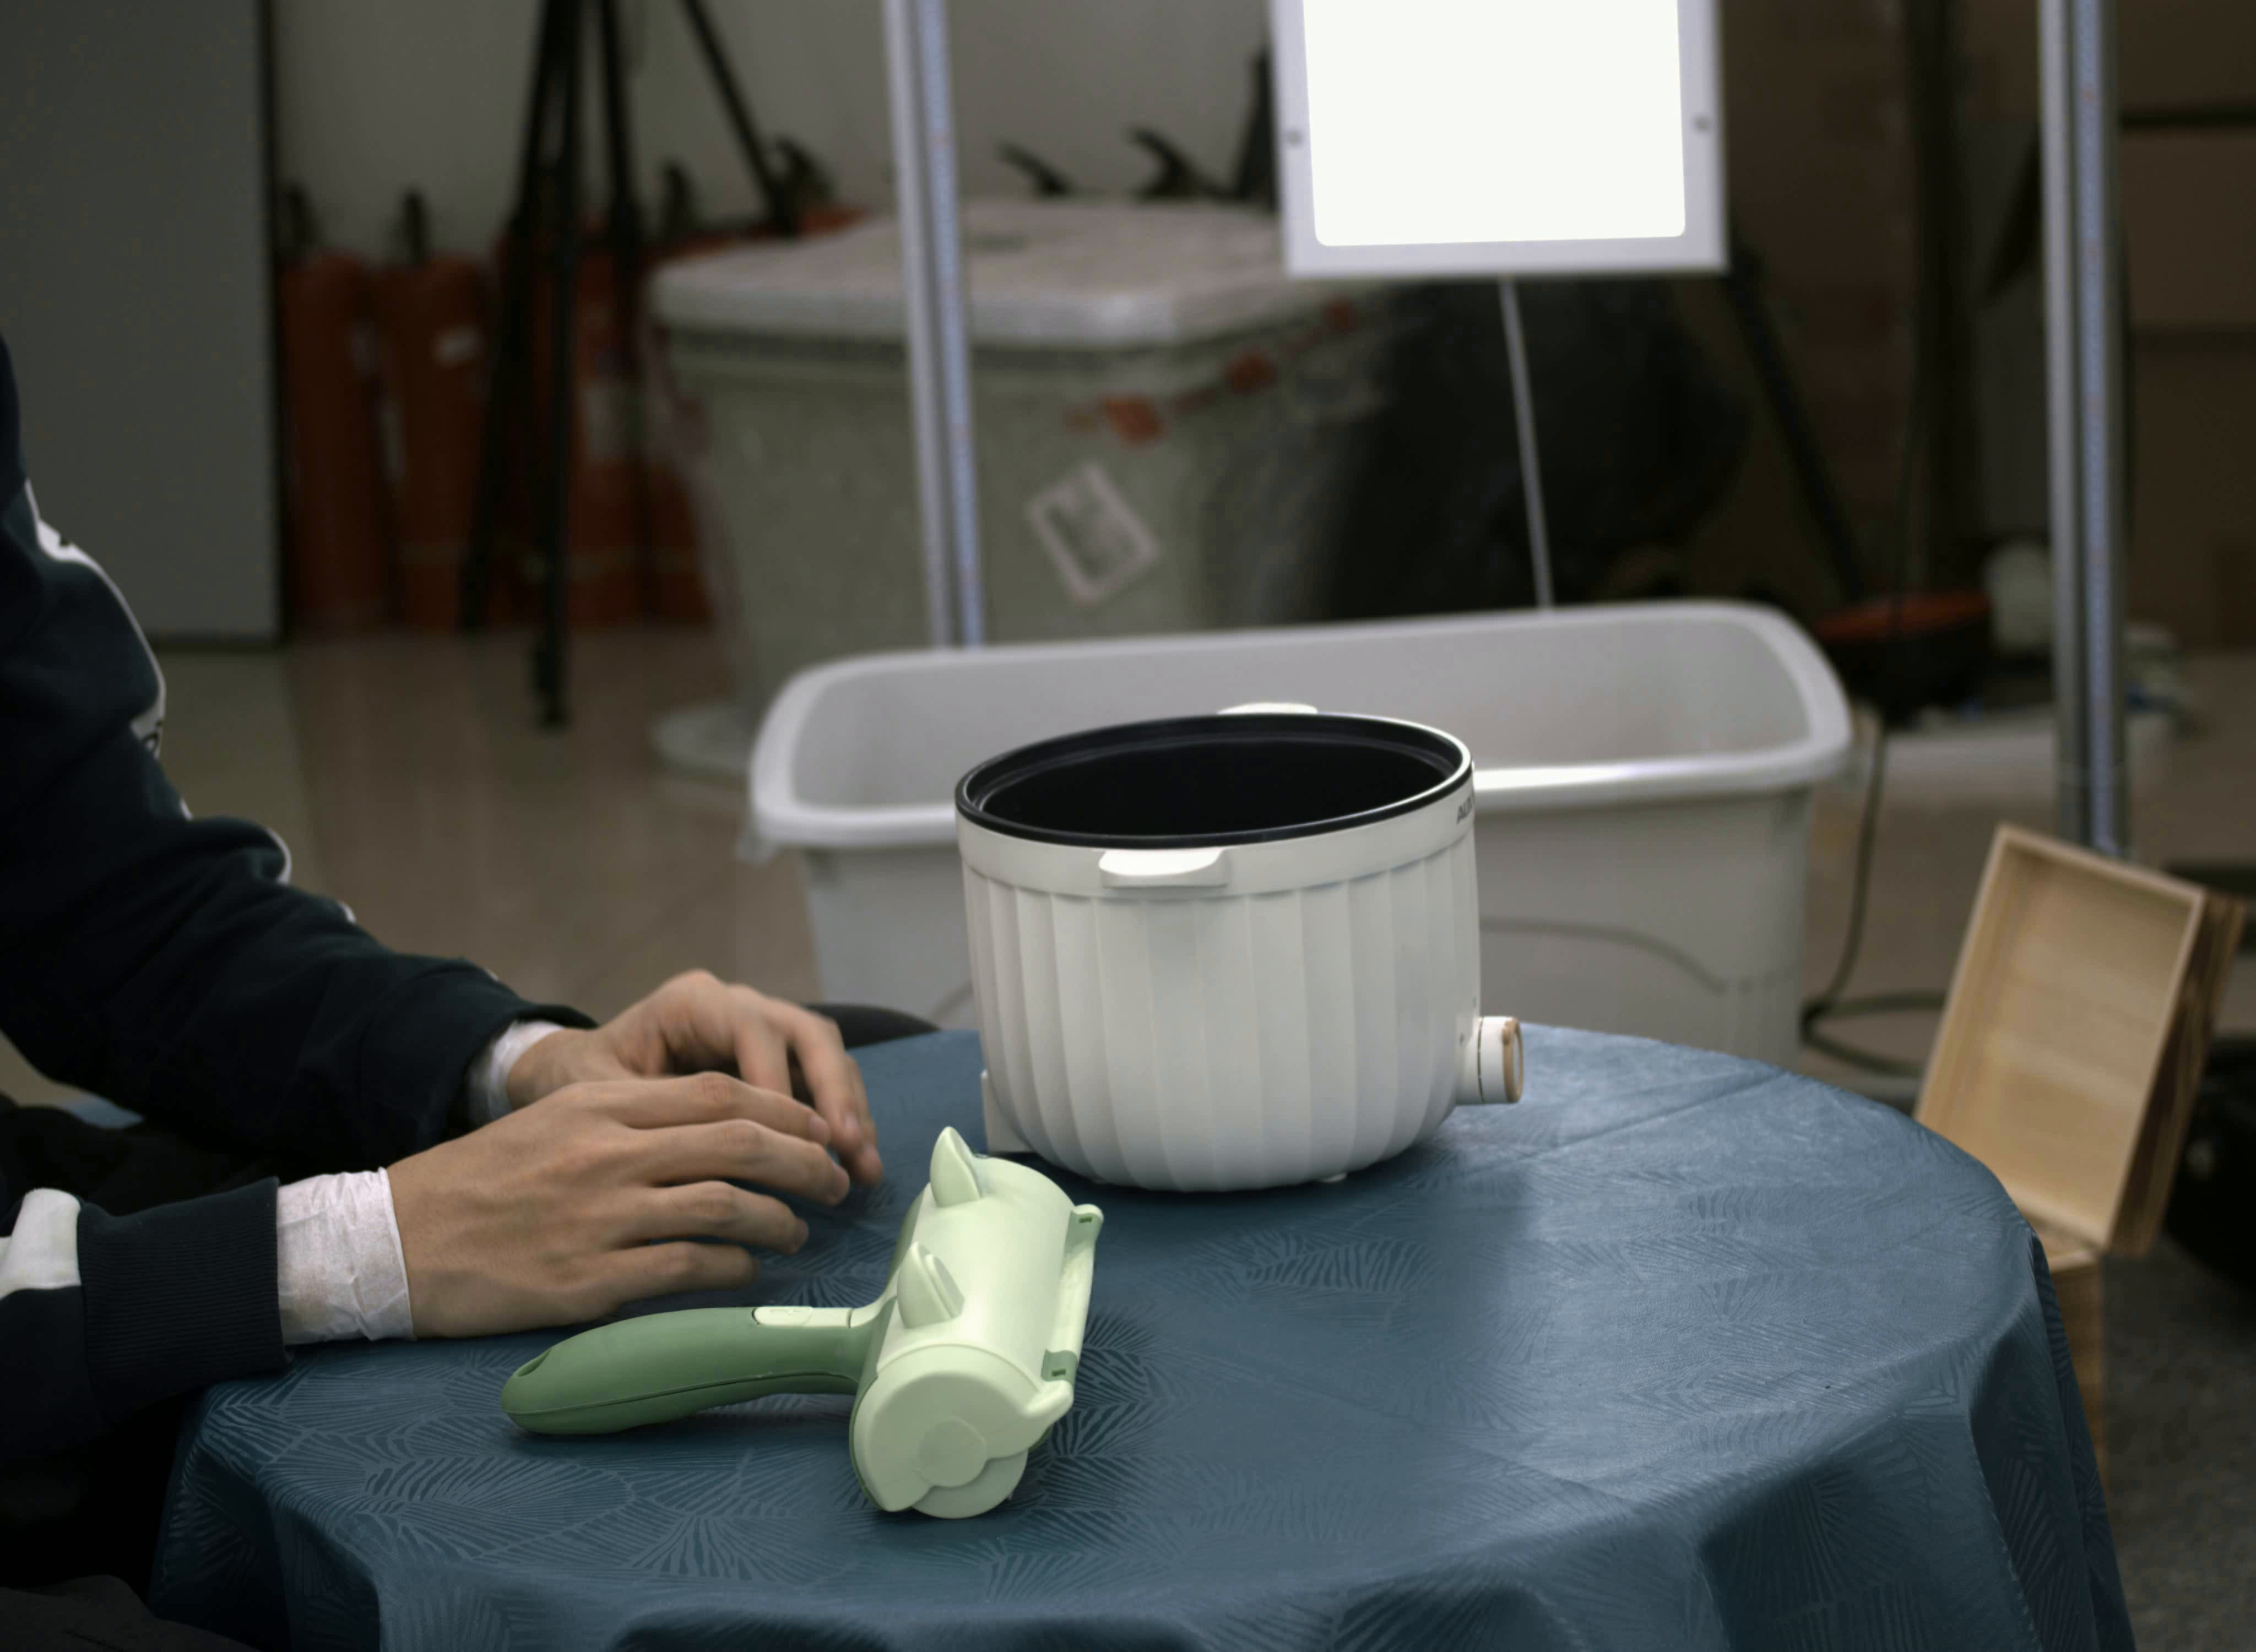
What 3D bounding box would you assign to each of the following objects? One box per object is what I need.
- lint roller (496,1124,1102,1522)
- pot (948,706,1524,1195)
[{"bbox_3d":[-0.104,0.147,1.693,0.183,0.082,0.197,1,14,4],"label":"lint roller"},{"bbox_3d":[0.039,0.046,1.921,0.192,0.143,0.237,-5,15,14],"label":"pot"}]
